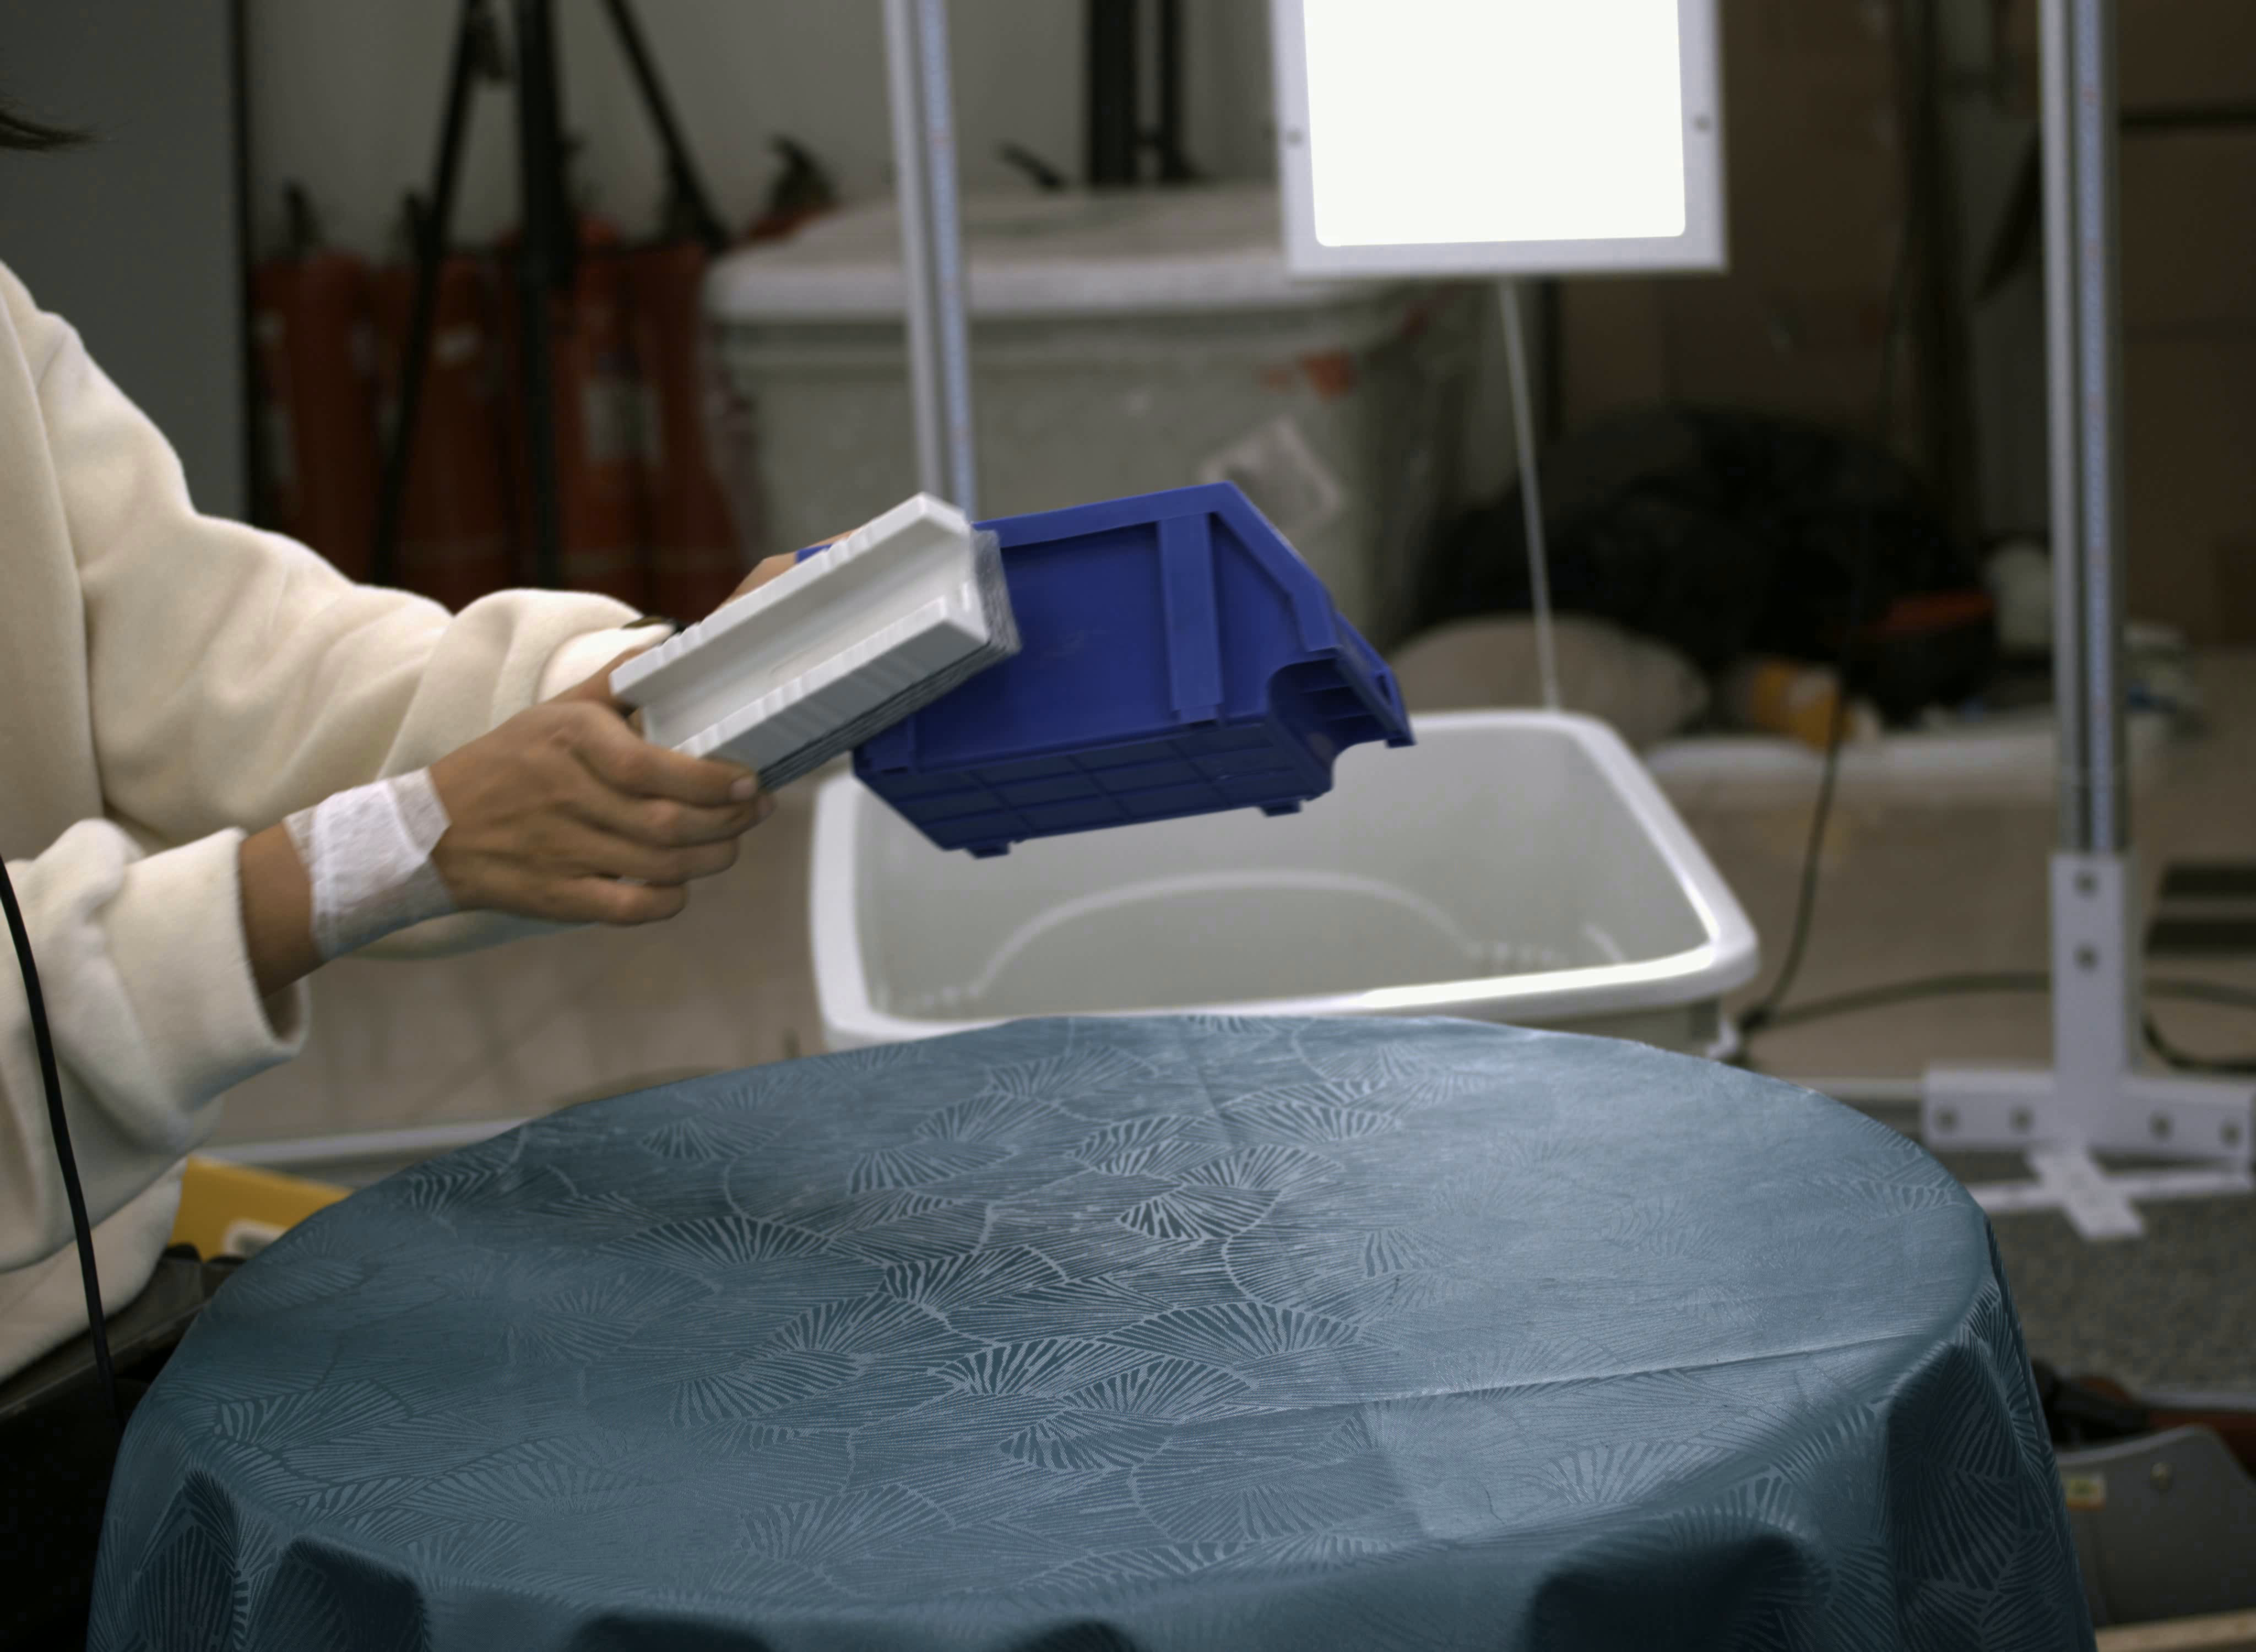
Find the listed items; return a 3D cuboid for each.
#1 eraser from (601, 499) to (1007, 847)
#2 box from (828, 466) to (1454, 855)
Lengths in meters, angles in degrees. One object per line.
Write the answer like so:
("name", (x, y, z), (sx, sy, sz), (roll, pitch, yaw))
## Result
("eraser", (-0.105, -0.048, 1.785), (0.136, 0.050, 0.045), (-30, -33, 26))
("box", (0.007, -0.054, 1.835), (0.181, 0.082, 0.123), (-11, -18, 16))
